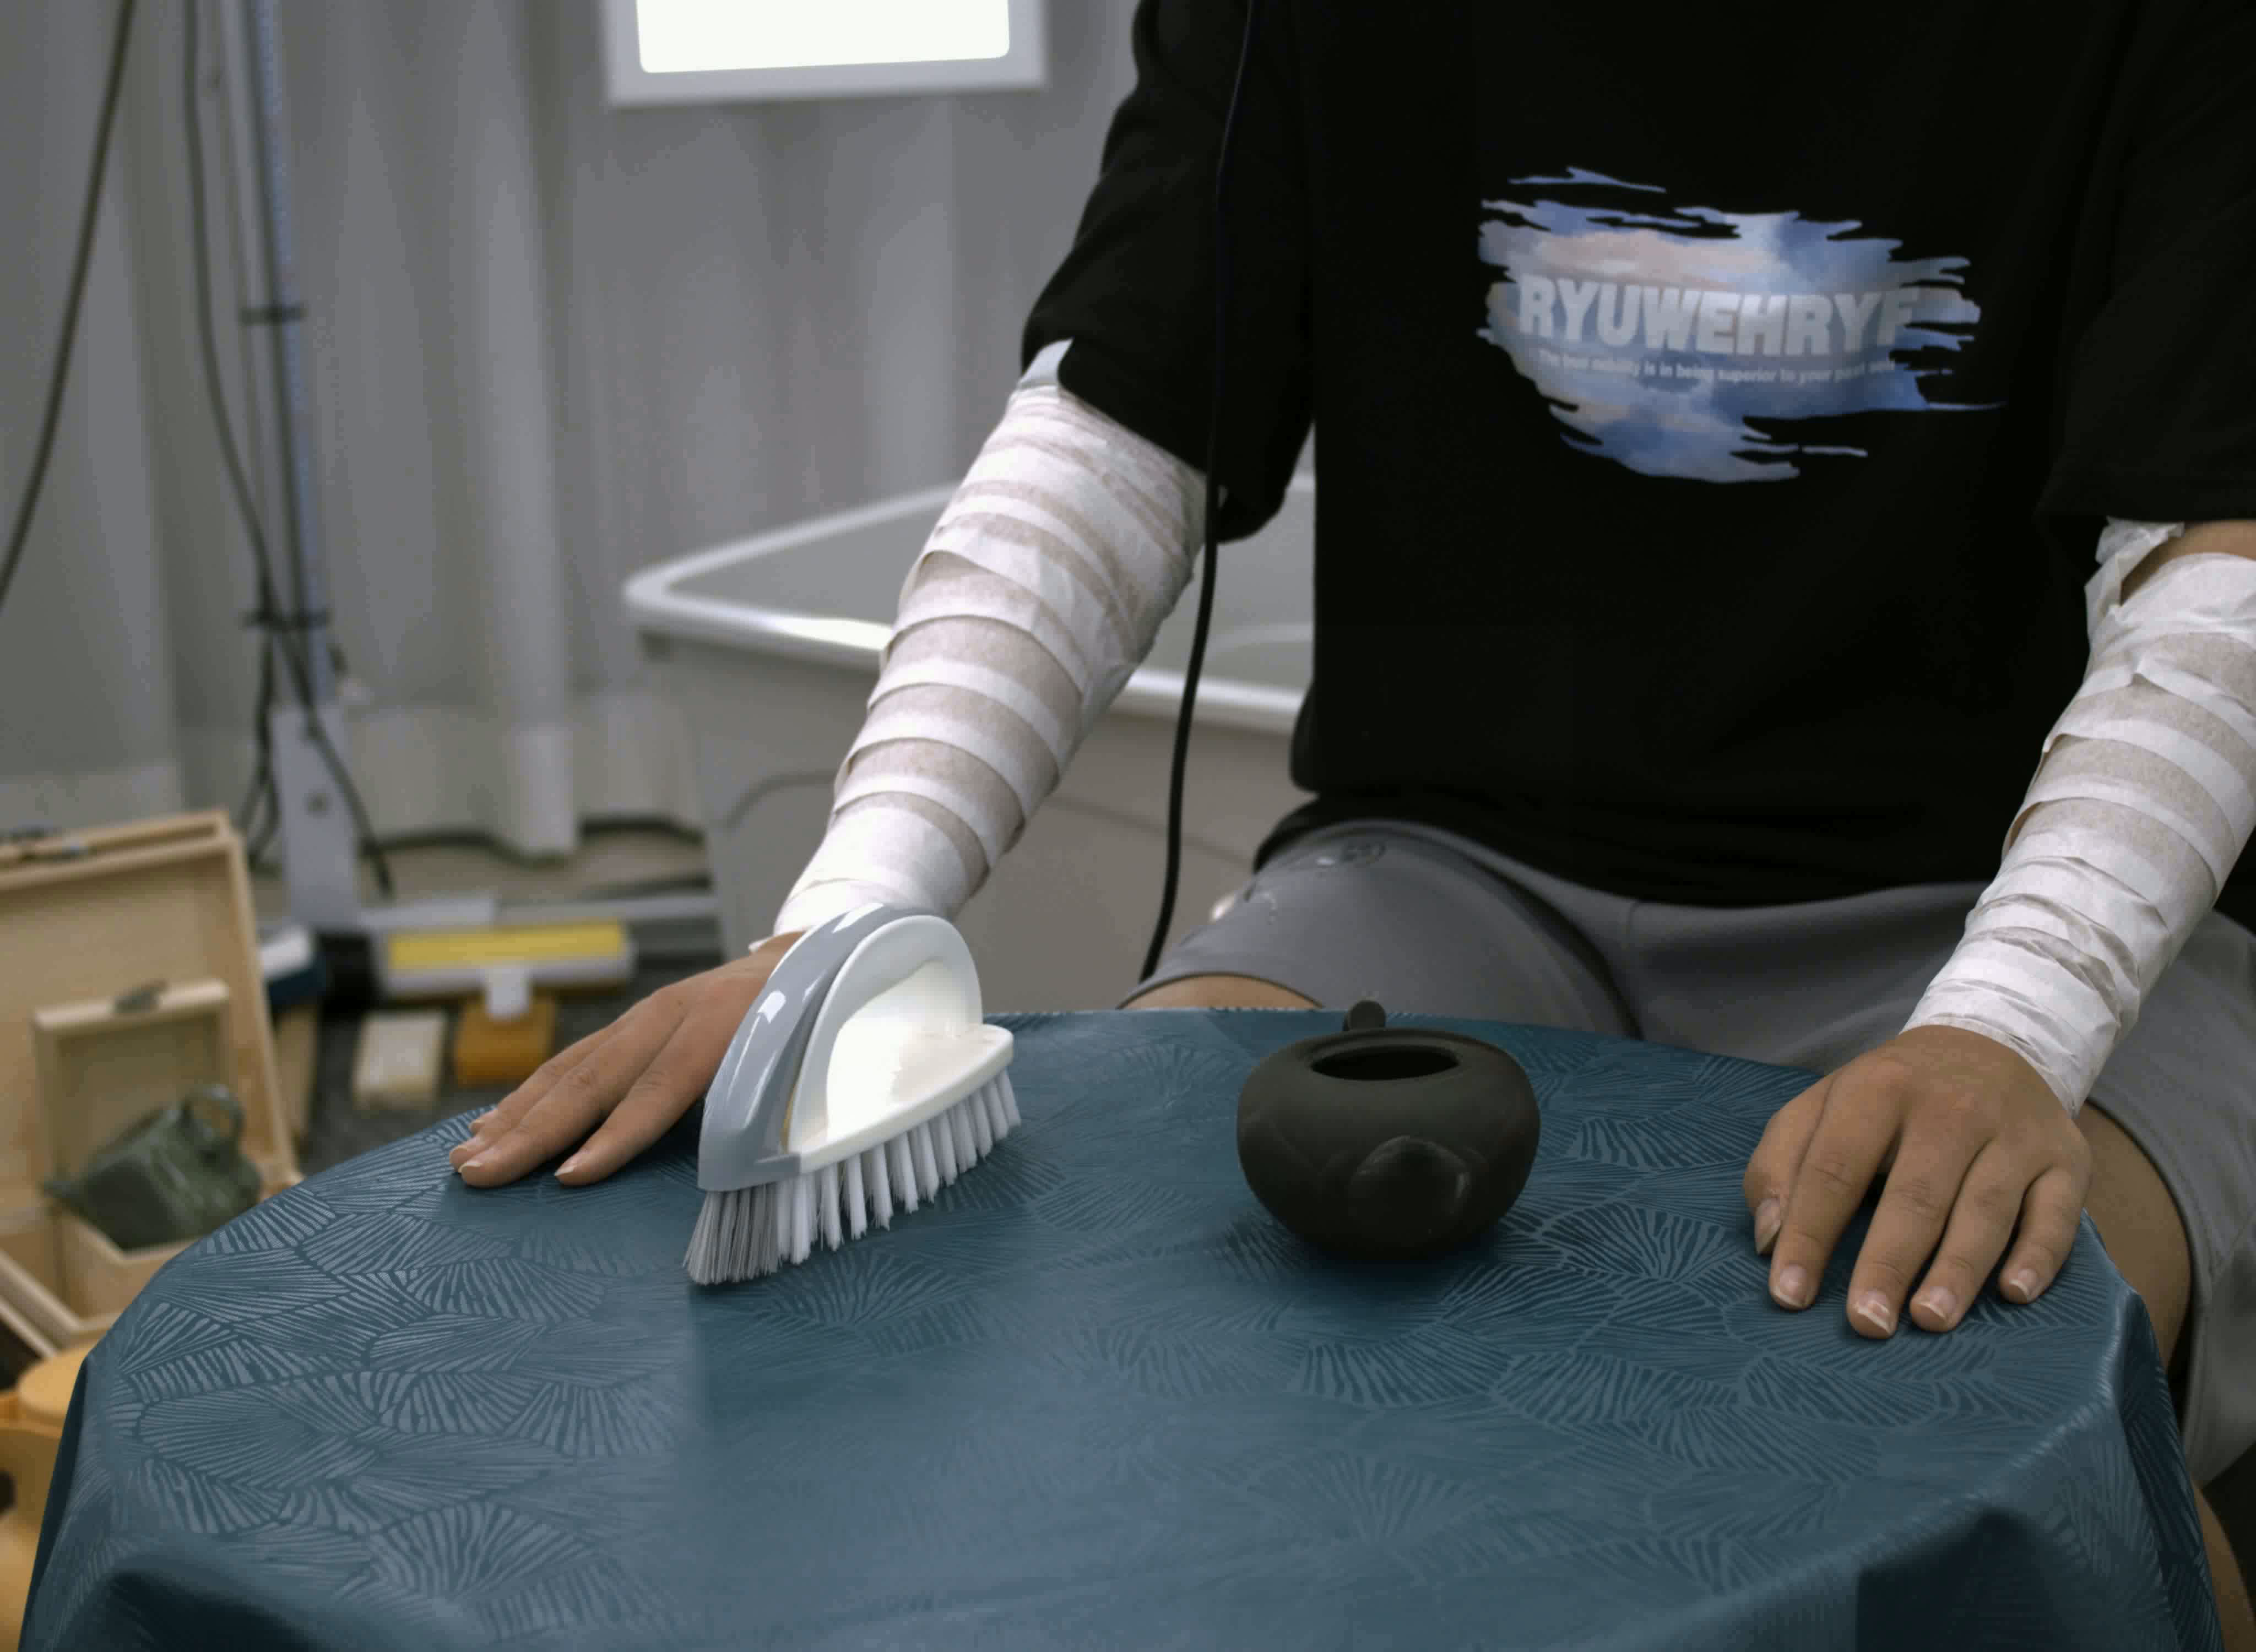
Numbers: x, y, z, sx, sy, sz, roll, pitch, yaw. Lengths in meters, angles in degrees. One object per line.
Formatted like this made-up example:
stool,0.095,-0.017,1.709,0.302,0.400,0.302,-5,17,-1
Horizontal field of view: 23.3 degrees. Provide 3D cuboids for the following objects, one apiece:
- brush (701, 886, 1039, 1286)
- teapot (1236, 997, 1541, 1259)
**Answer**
brush,-0.089,0.075,1.702,0.061,0.094,0.176,0,16,26
teapot,0.078,0.092,1.656,0.092,0.064,0.155,-3,16,-3
